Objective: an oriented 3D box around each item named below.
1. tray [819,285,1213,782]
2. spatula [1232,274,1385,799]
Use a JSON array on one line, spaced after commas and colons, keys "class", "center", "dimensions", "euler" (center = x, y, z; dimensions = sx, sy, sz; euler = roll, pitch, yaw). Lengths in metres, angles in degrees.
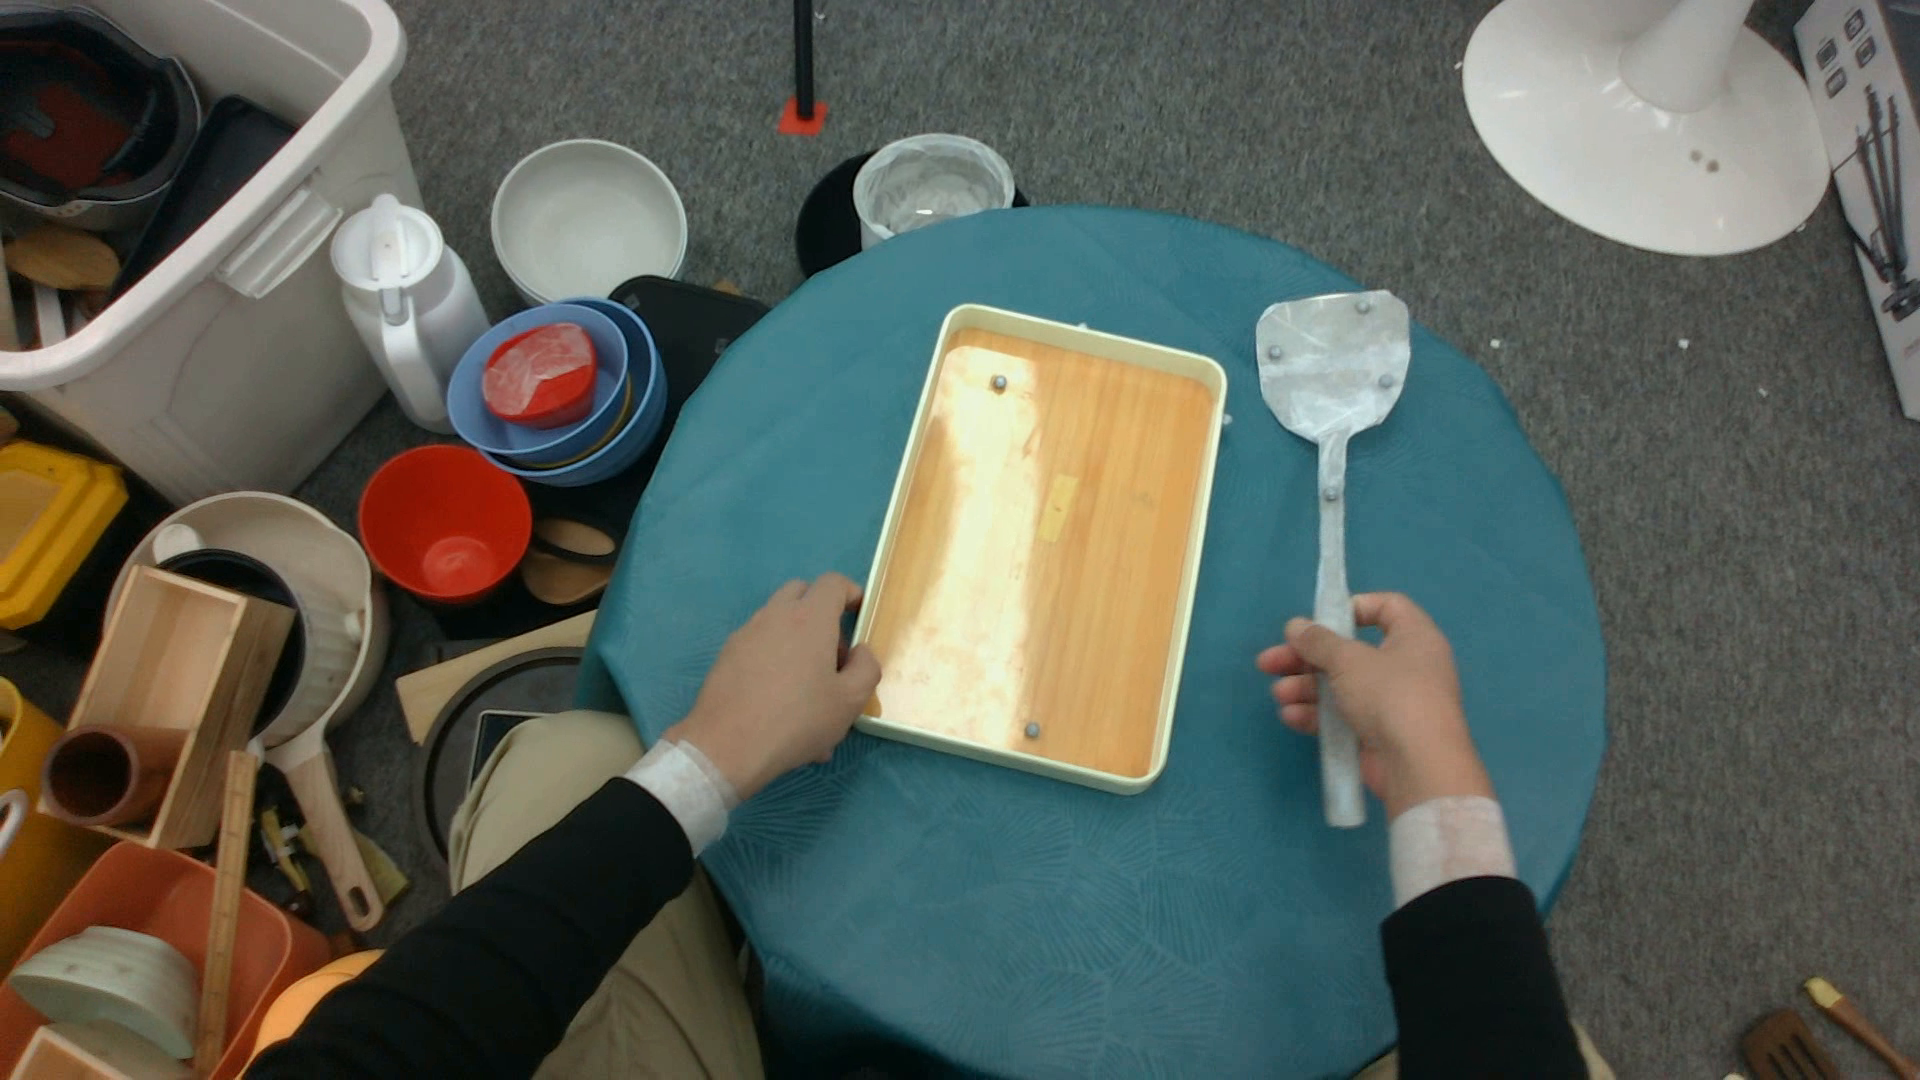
[{"class": "tray", "center": [0.041, -0.014, 0.843], "dimensions": [0.191, 0.027, 0.301], "euler": [14, 63, 2]}, {"class": "spatula", "center": [0.215, -0.019, 0.828], "dimensions": [0.098, 0.044, 0.366], "euler": [-3, 52, 15]}]
